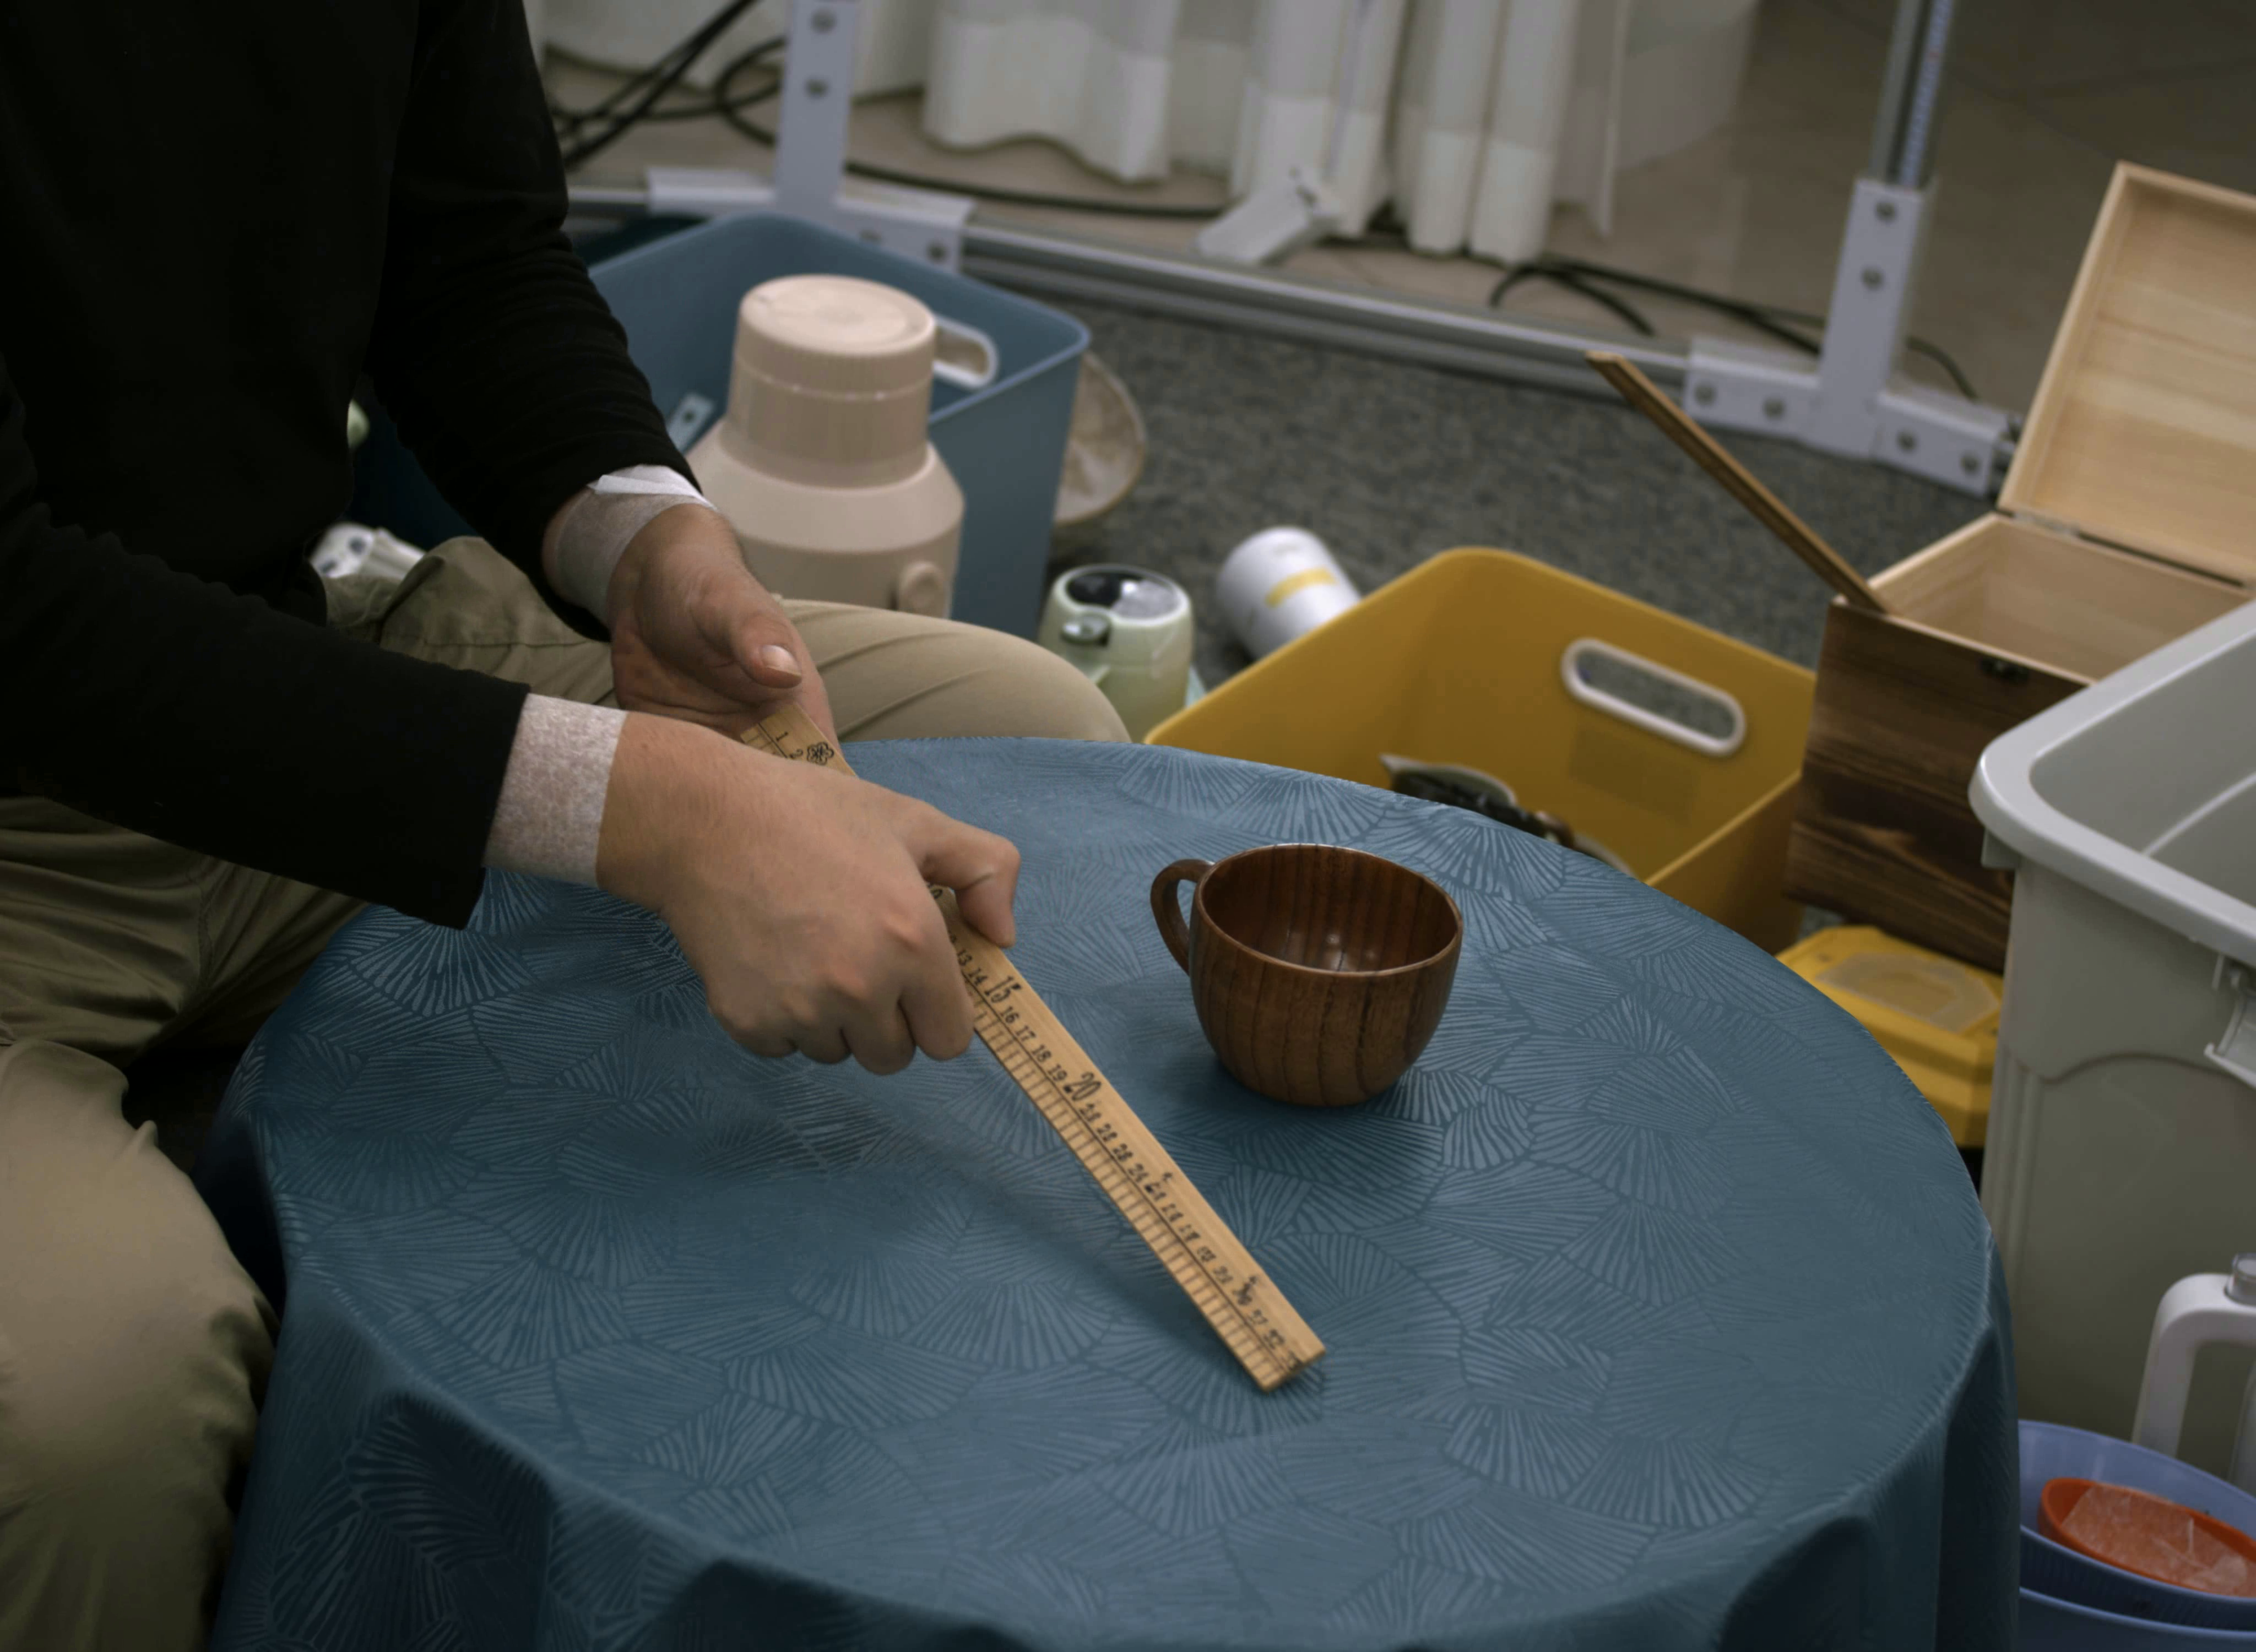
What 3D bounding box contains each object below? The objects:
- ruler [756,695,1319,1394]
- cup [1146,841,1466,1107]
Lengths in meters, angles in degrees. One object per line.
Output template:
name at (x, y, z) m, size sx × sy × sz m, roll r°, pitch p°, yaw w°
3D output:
ruler at (-0.036, 0.066, 1.792) m, size 0.027 × 0.022 × 0.335 m, roll -26°, pitch 54°, yaw -18°
cup at (0.058, 0.052, 1.884) m, size 0.120 × 0.067 × 0.096 m, roll 20°, pitch 32°, yaw 28°
